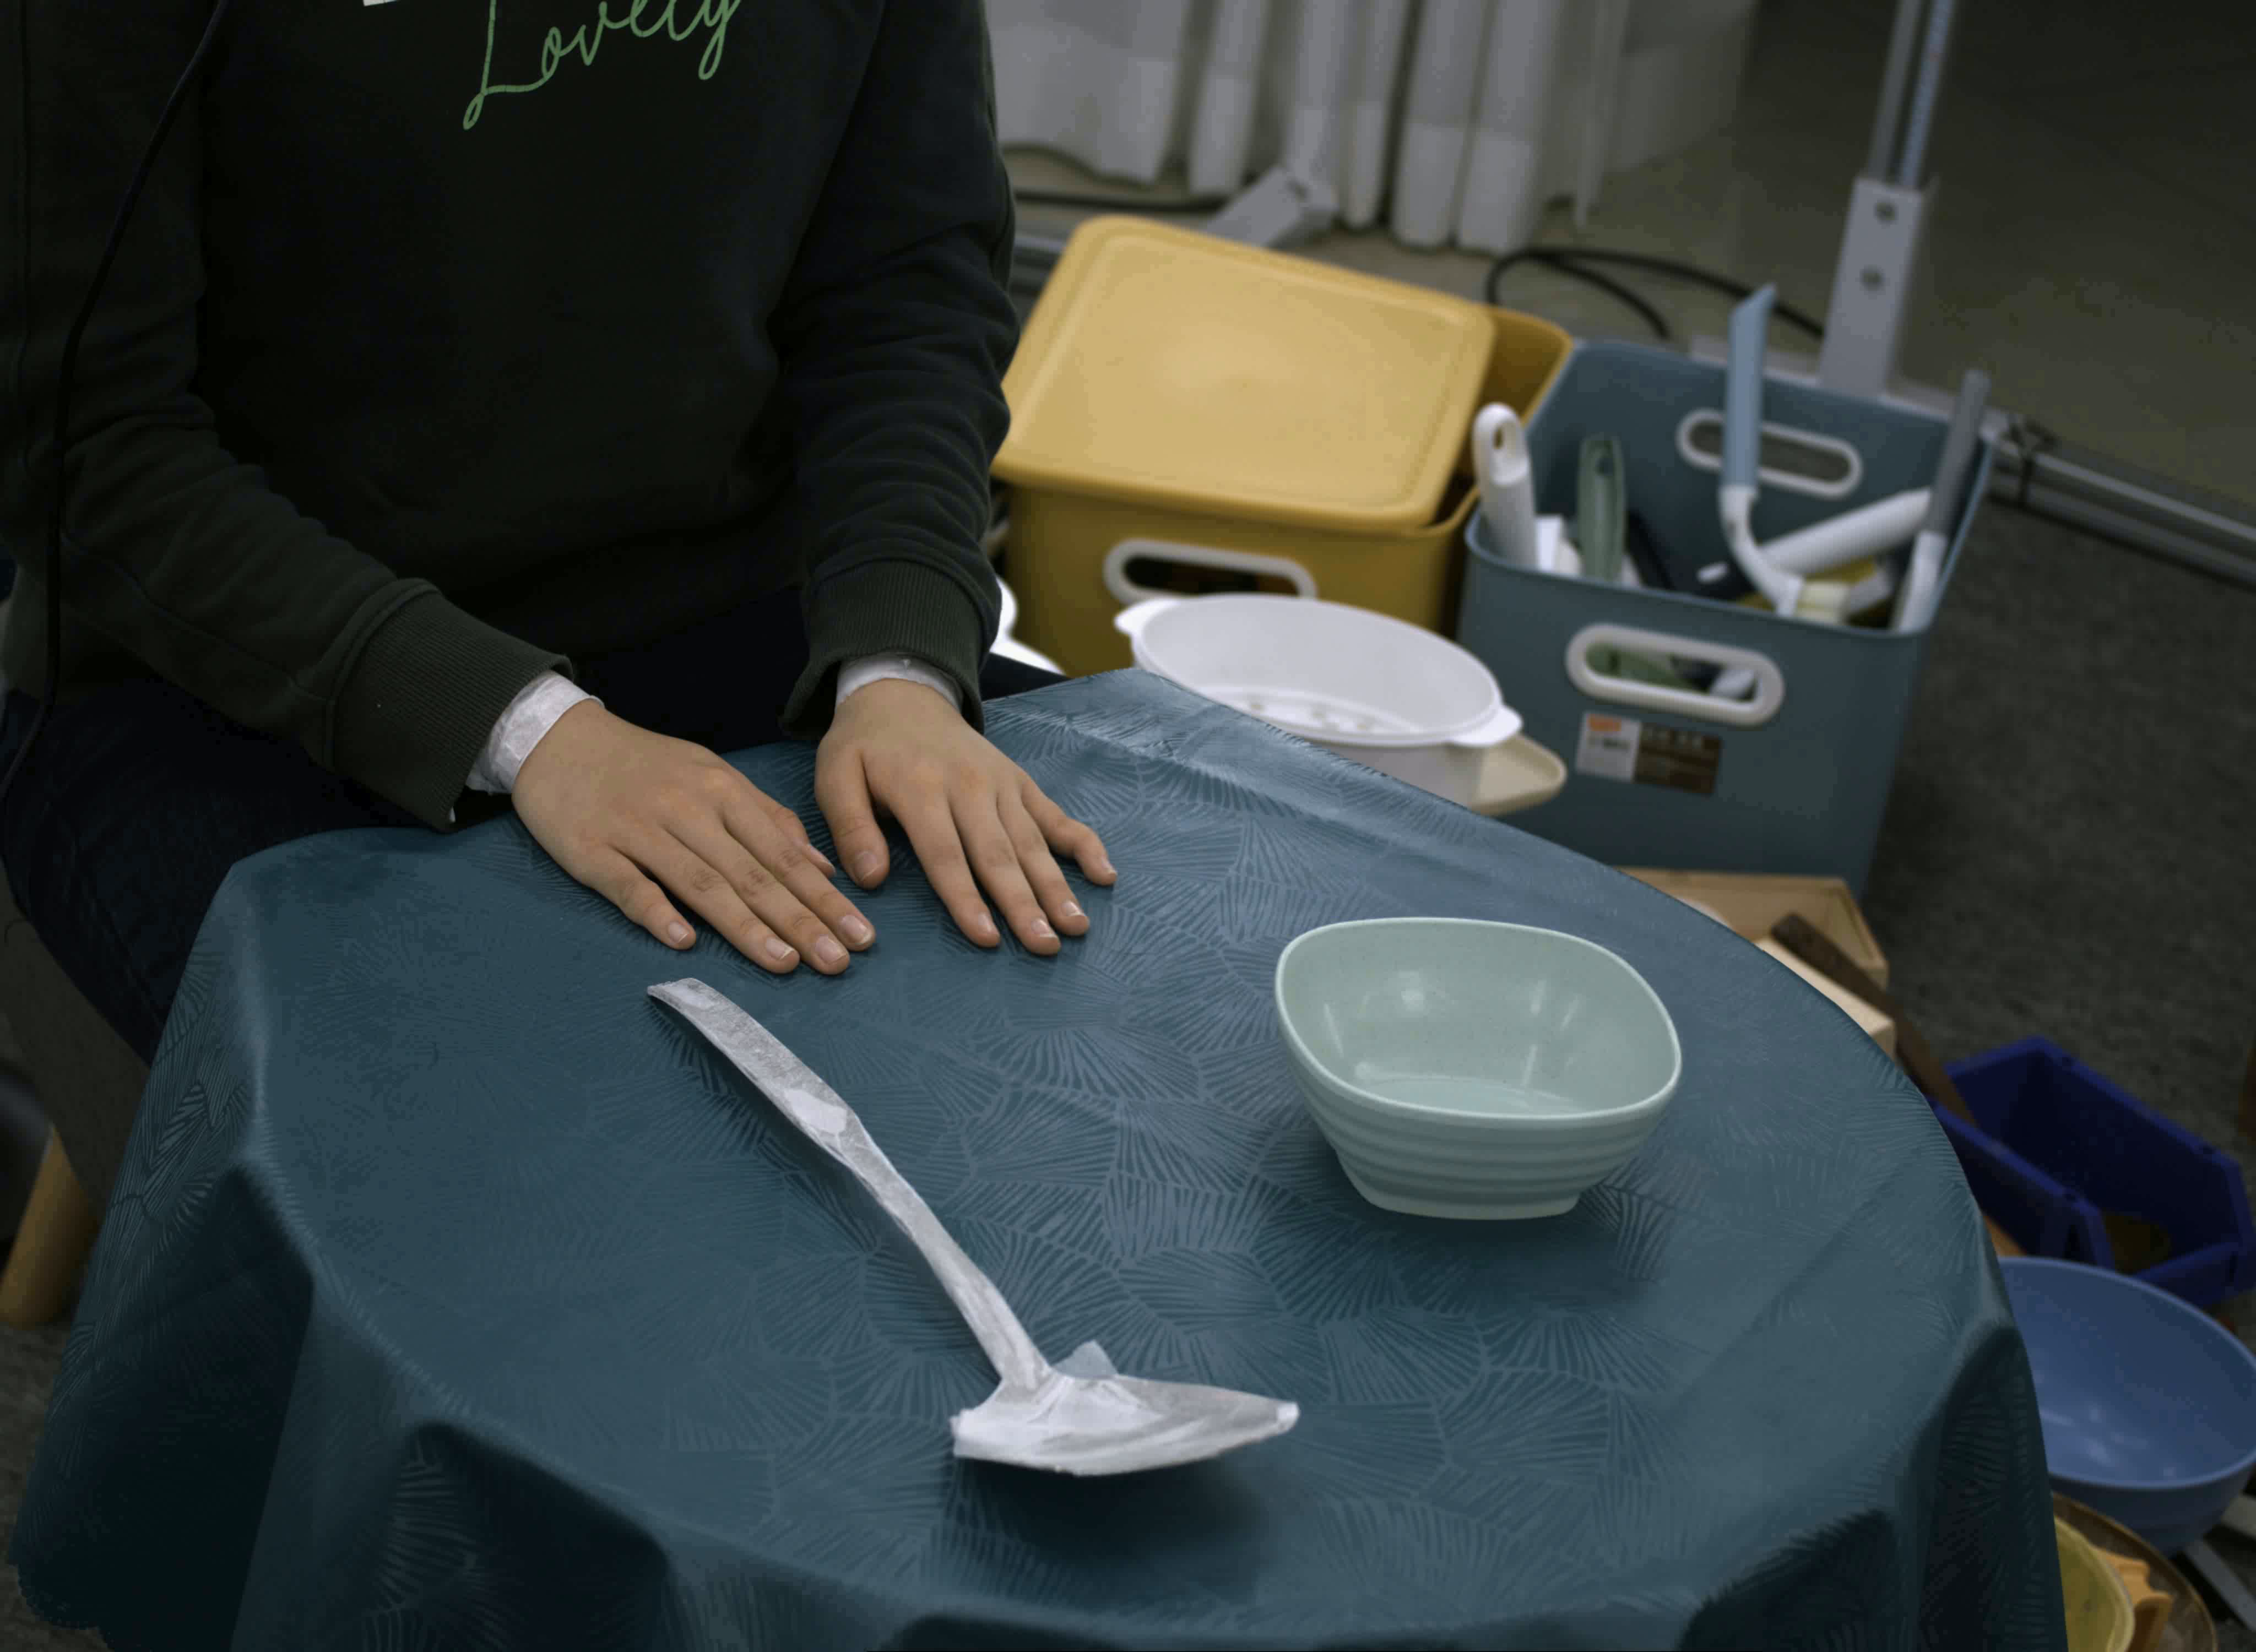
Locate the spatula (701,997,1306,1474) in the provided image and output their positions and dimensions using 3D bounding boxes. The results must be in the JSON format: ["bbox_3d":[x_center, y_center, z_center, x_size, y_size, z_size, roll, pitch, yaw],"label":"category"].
[{"bbox_3d":[-0.065,0.125,1.739,0.098,0.044,0.368,-10,31,-26],"label":"spatula"}]

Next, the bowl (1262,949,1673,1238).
[{"bbox_3d":[0.113,0.097,1.830,0.151,0.058,0.152,5,22,-2],"label":"bowl"}]
